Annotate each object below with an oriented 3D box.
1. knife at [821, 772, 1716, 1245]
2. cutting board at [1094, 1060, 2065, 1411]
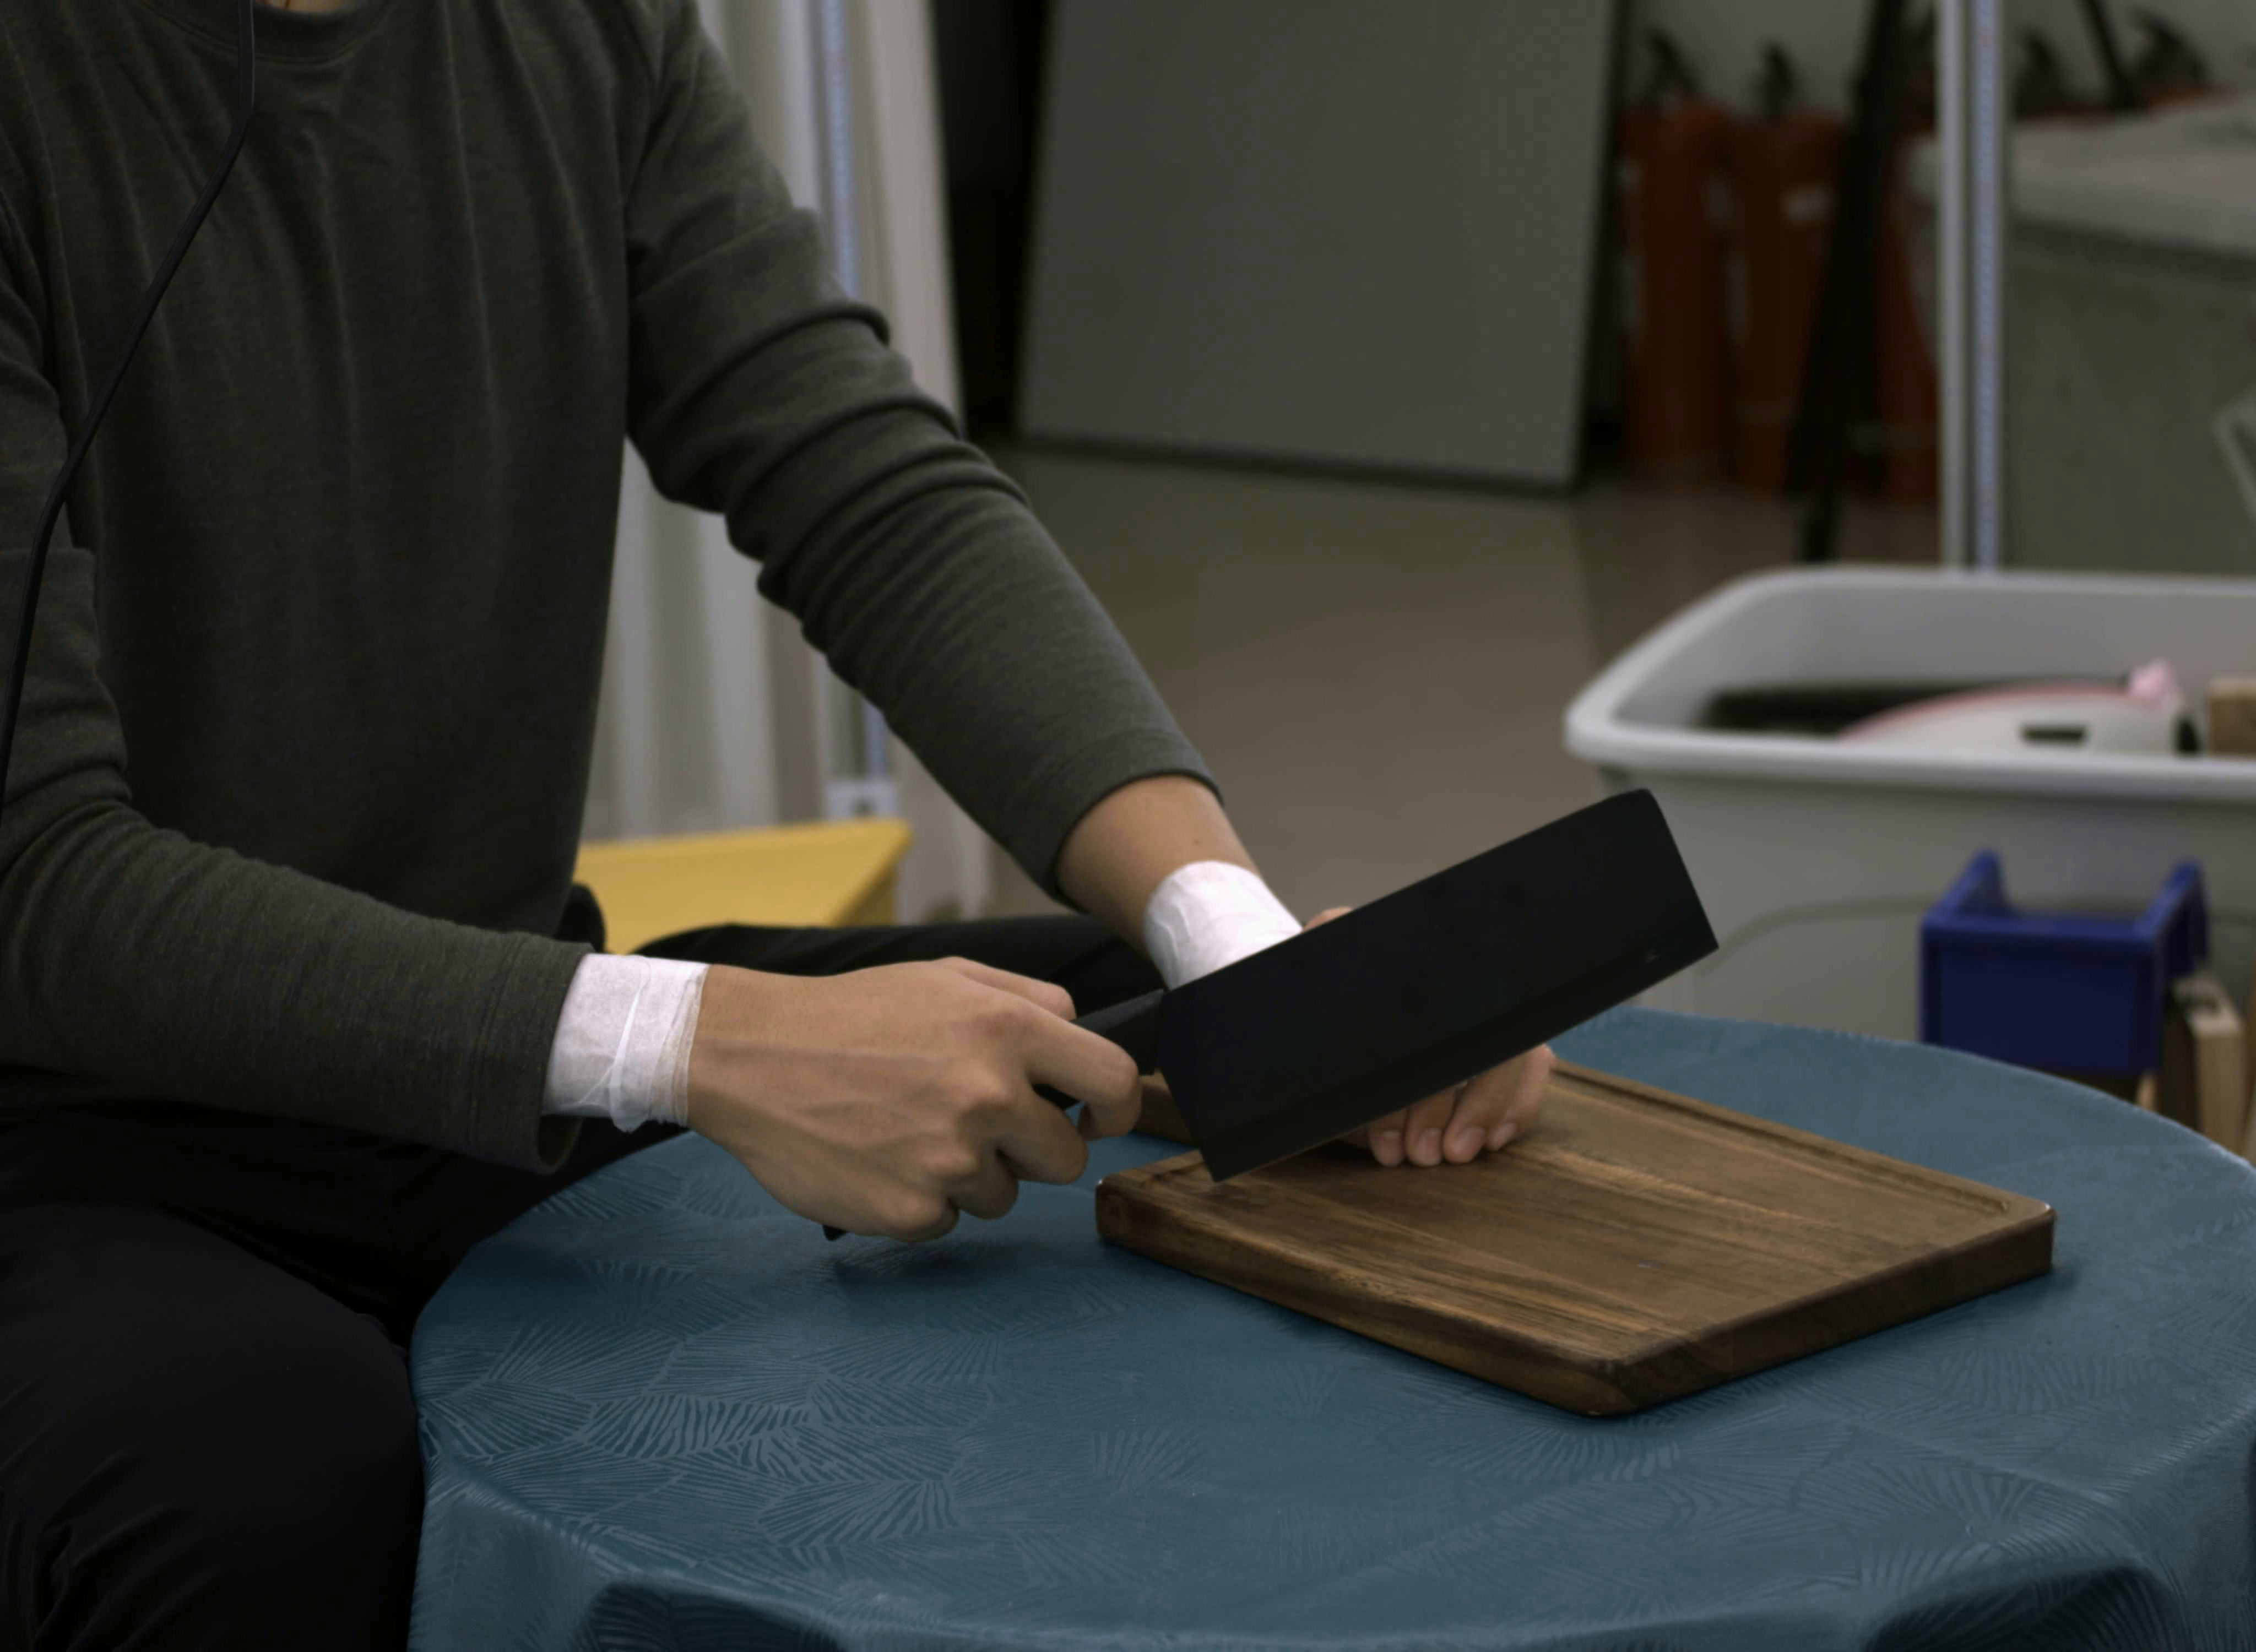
[{"bbox_3d":[0.041,0.069,1.714,0.300,0.081,0.021,-20,8,4],"label":"knife"},{"bbox_3d":[0.108,0.116,1.720,0.196,0.023,0.356,-13,16,-35],"label":"cutting board"}]
